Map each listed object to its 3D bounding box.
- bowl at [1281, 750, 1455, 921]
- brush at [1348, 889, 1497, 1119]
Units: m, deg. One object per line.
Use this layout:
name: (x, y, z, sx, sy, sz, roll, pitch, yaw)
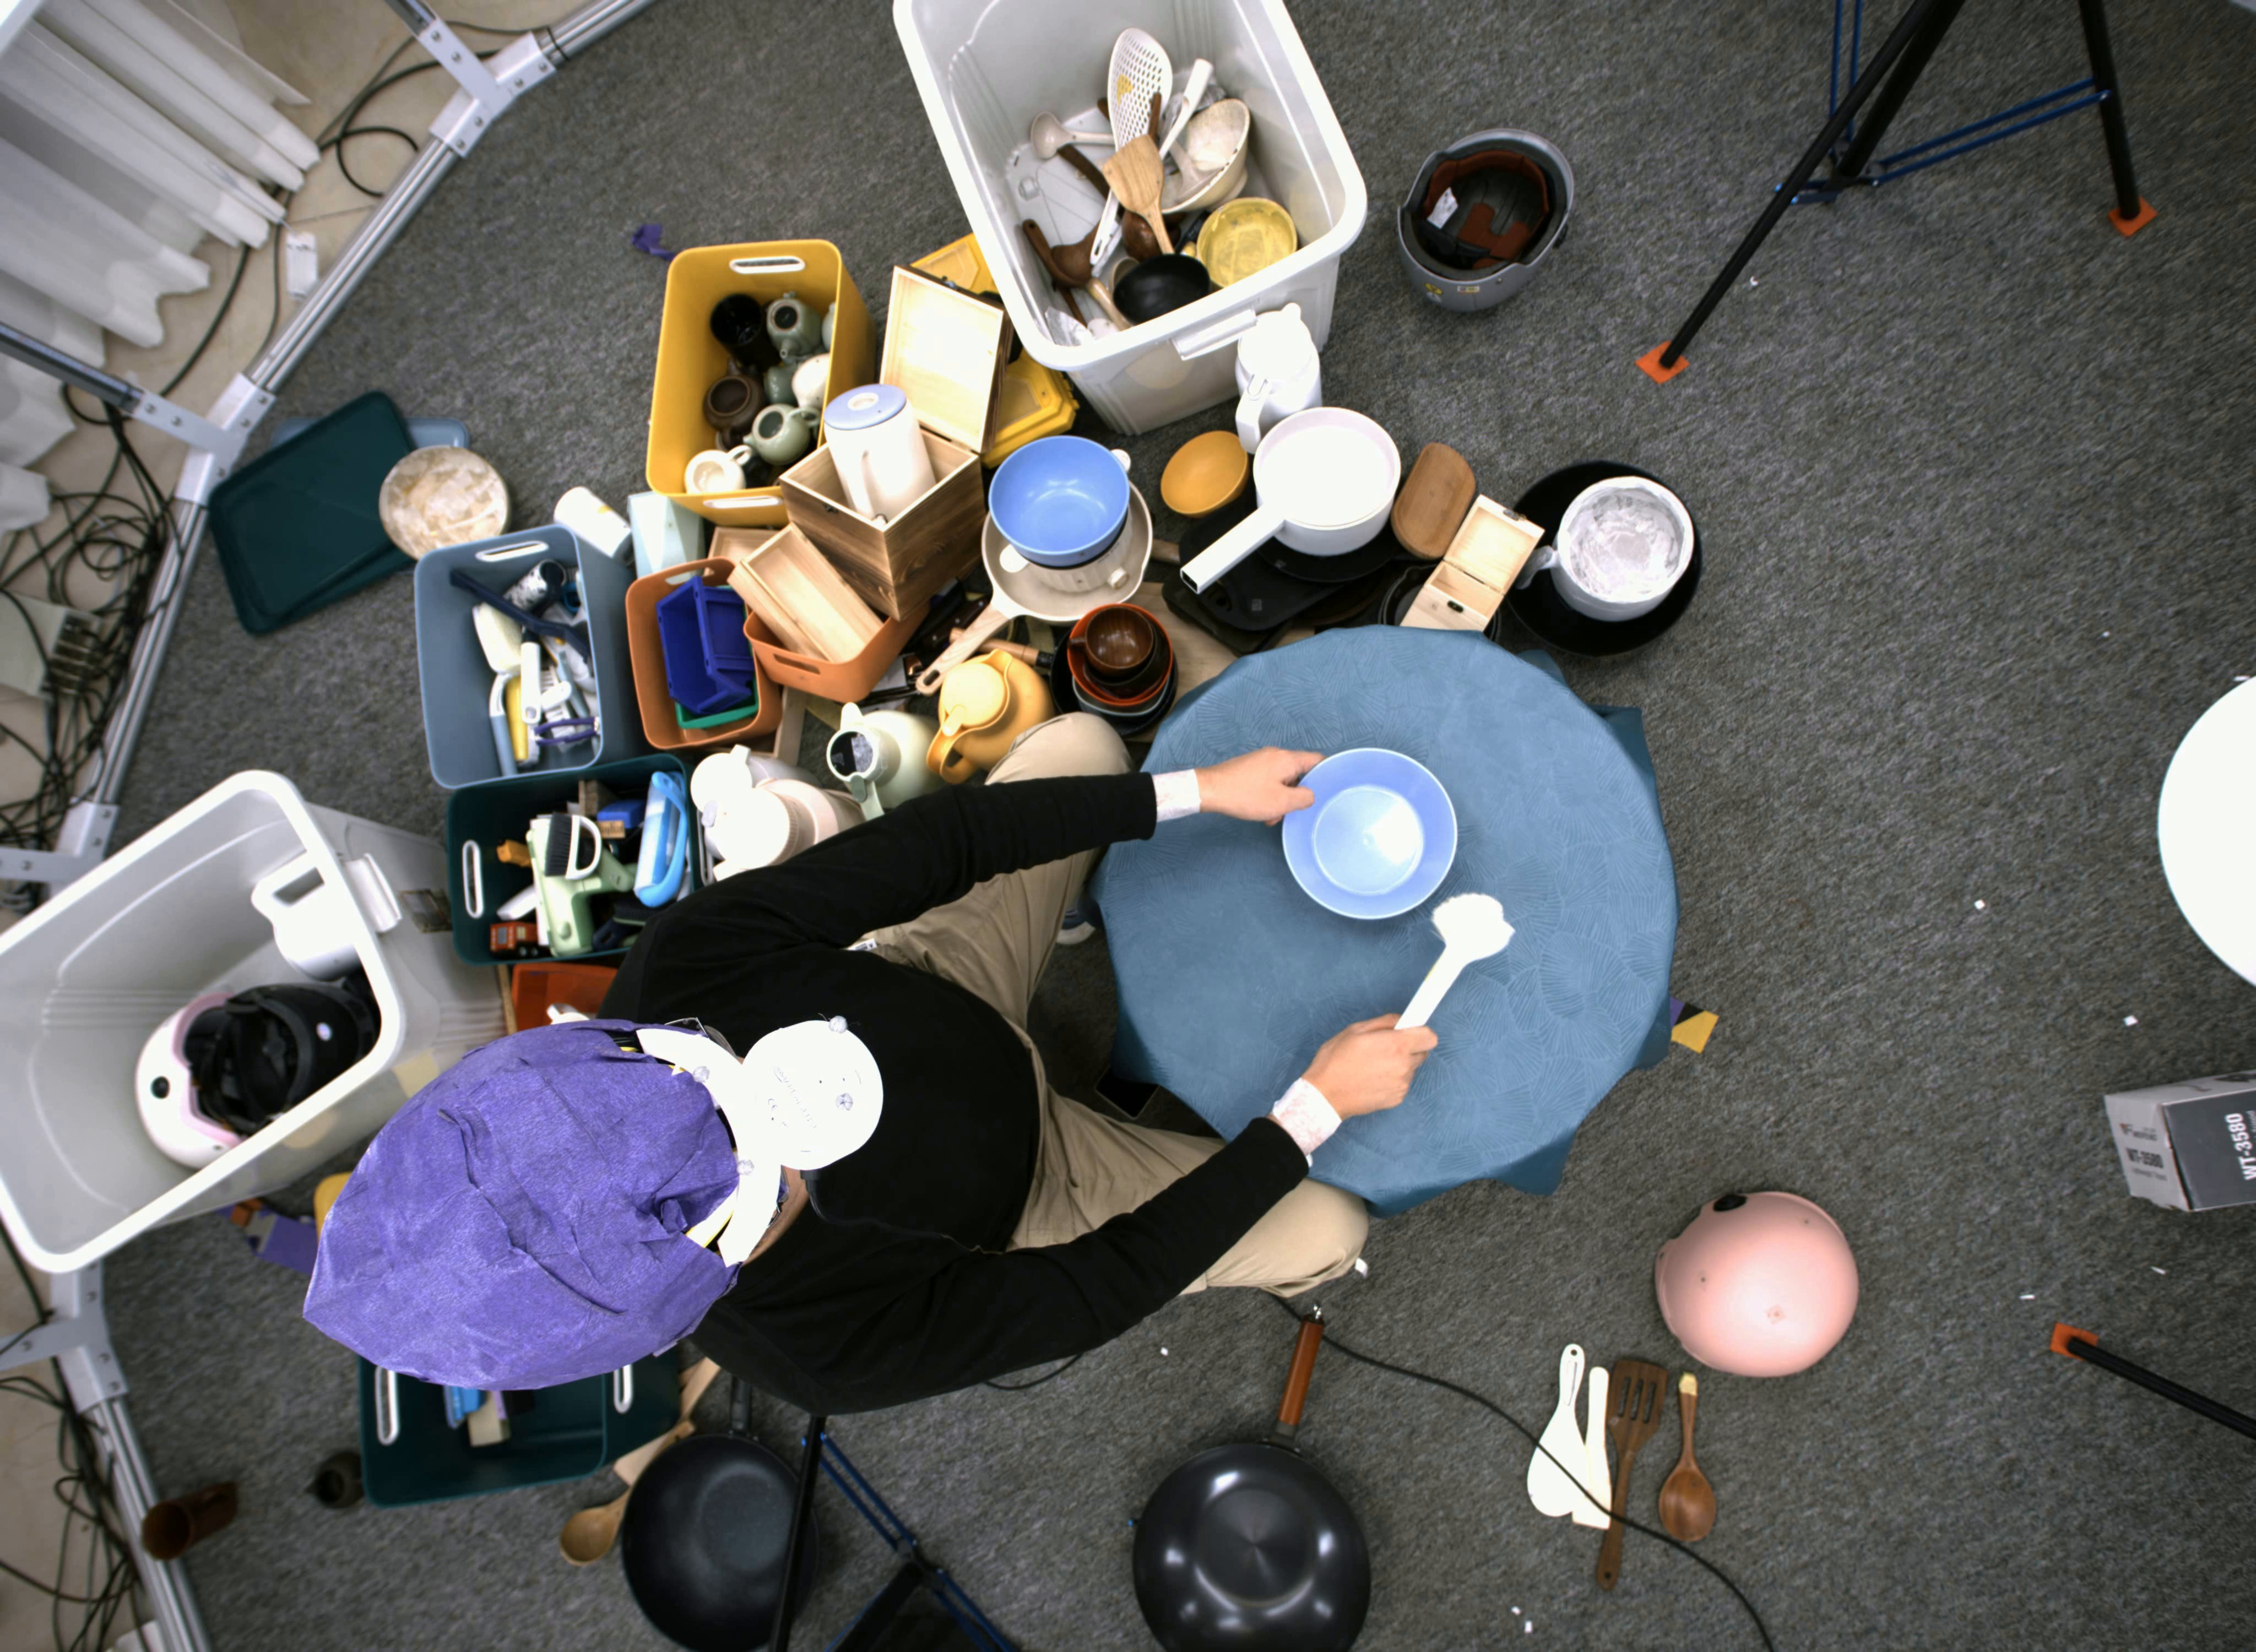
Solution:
bowl: (0.247, 0.012, 1.429, 0.177, 0.070, 0.175, -1, 84, 9)
brush: (0.281, 0.174, 1.376, 0.068, 0.055, 0.272, 17, 116, -21)
